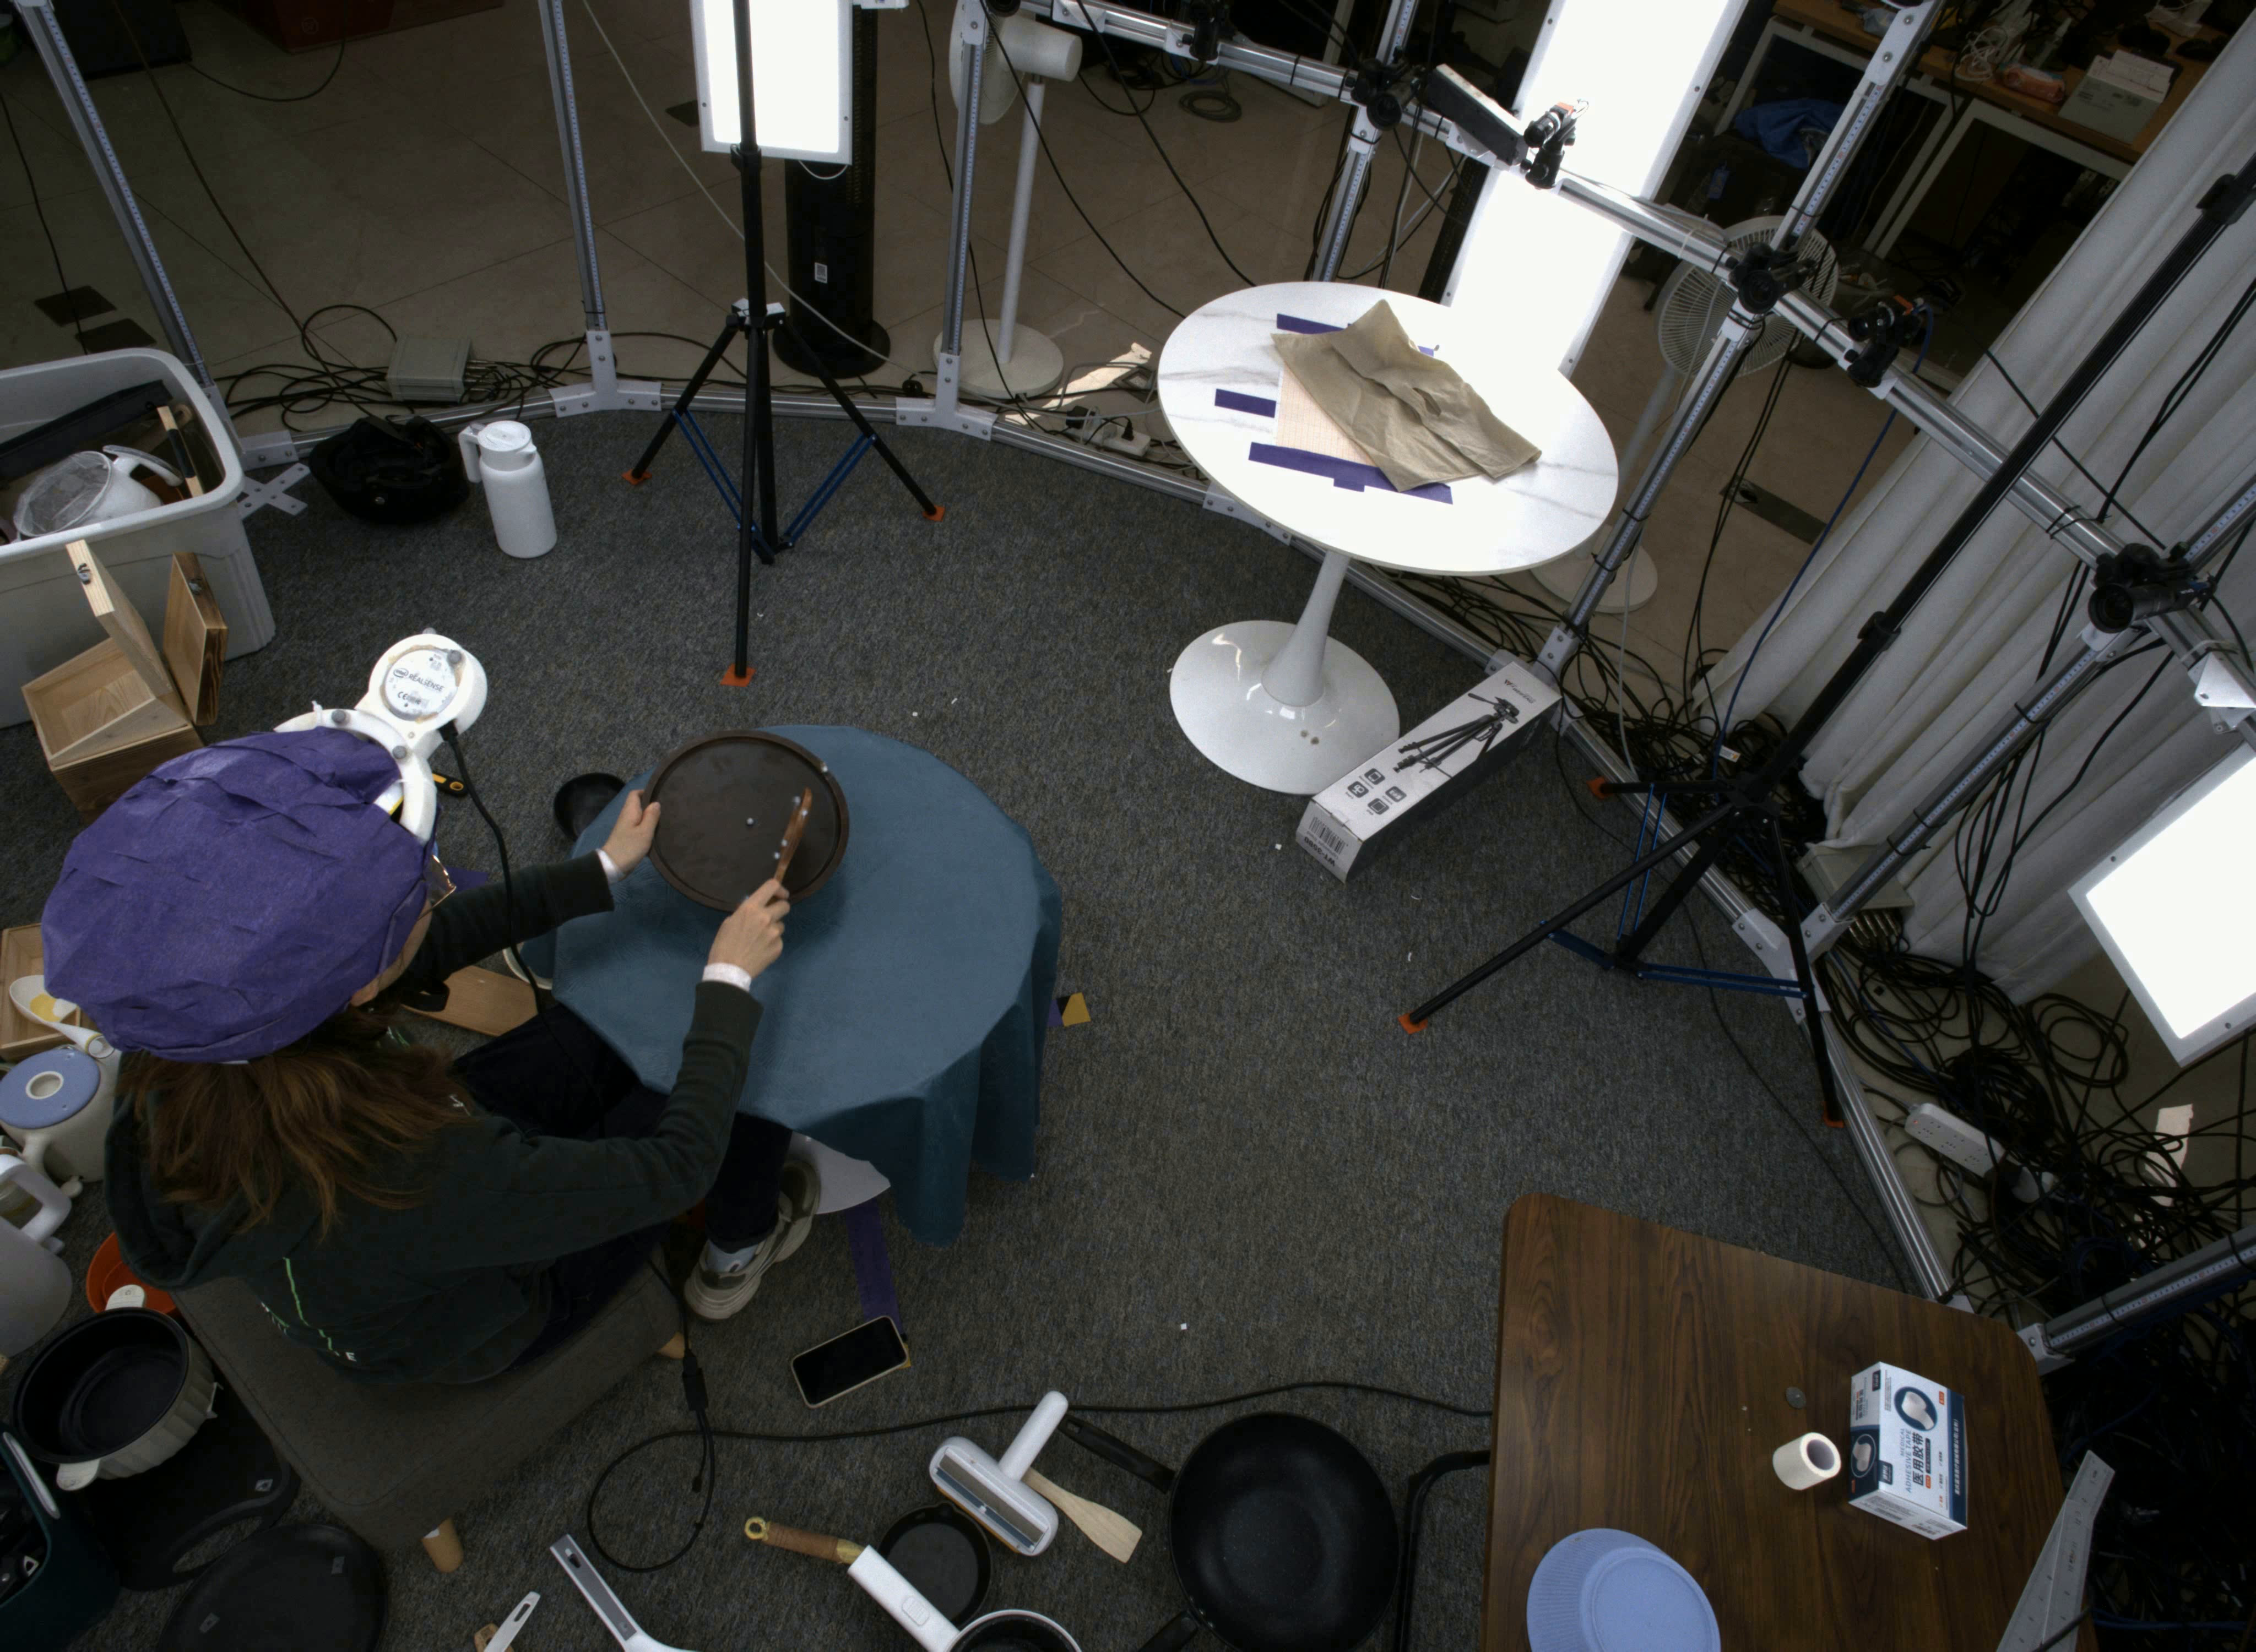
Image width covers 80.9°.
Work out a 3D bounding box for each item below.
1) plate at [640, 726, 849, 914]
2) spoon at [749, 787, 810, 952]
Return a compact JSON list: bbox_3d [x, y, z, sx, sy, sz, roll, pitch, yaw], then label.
[{"bbox_3d":[-0.473,-0.009,1.601,0.257,0.029,0.251,11,61,-18],"label":"plate"},{"bbox_3d":[-0.407,0.048,1.518,0.017,0.075,0.213,24,56,-21],"label":"spoon"}]
